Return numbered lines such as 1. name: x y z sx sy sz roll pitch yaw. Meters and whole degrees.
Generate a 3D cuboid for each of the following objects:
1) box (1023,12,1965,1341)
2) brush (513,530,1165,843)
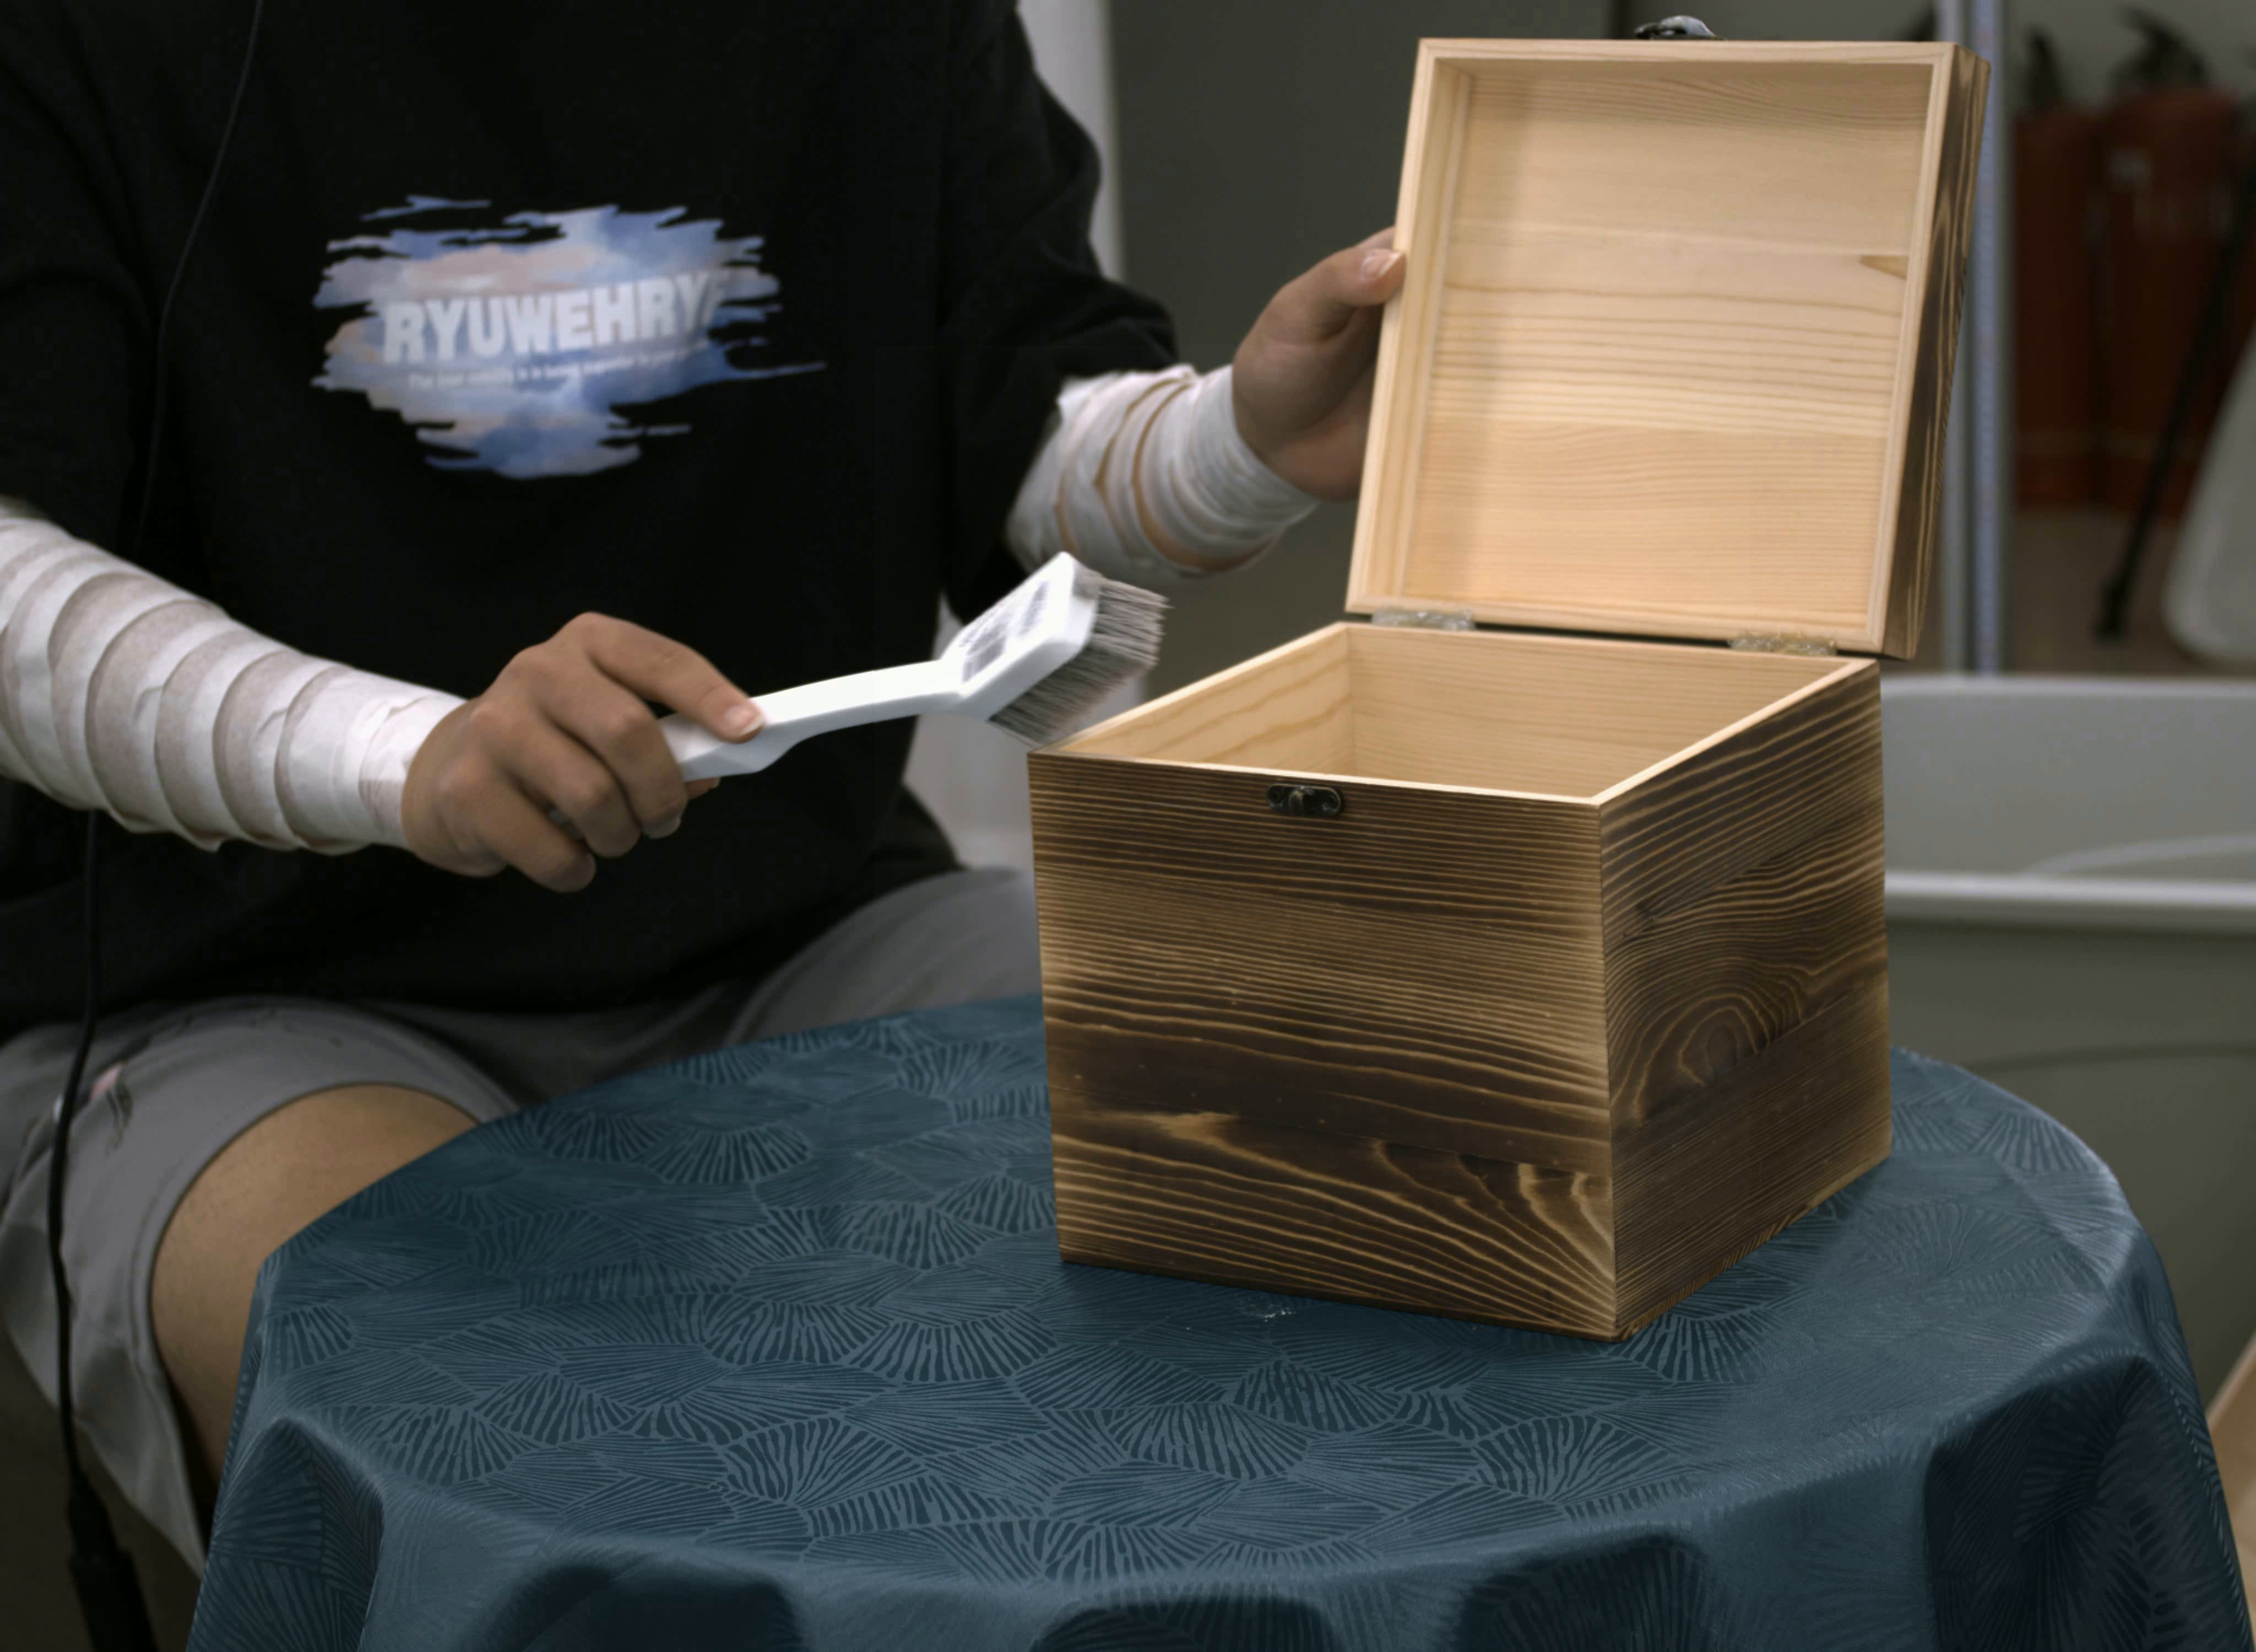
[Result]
1. box: 0.129 -0.061 1.735 0.210 0.380 0.317 3 13 33
2. brush: -0.091 -0.031 1.715 0.245 0.049 0.034 -23 43 30
